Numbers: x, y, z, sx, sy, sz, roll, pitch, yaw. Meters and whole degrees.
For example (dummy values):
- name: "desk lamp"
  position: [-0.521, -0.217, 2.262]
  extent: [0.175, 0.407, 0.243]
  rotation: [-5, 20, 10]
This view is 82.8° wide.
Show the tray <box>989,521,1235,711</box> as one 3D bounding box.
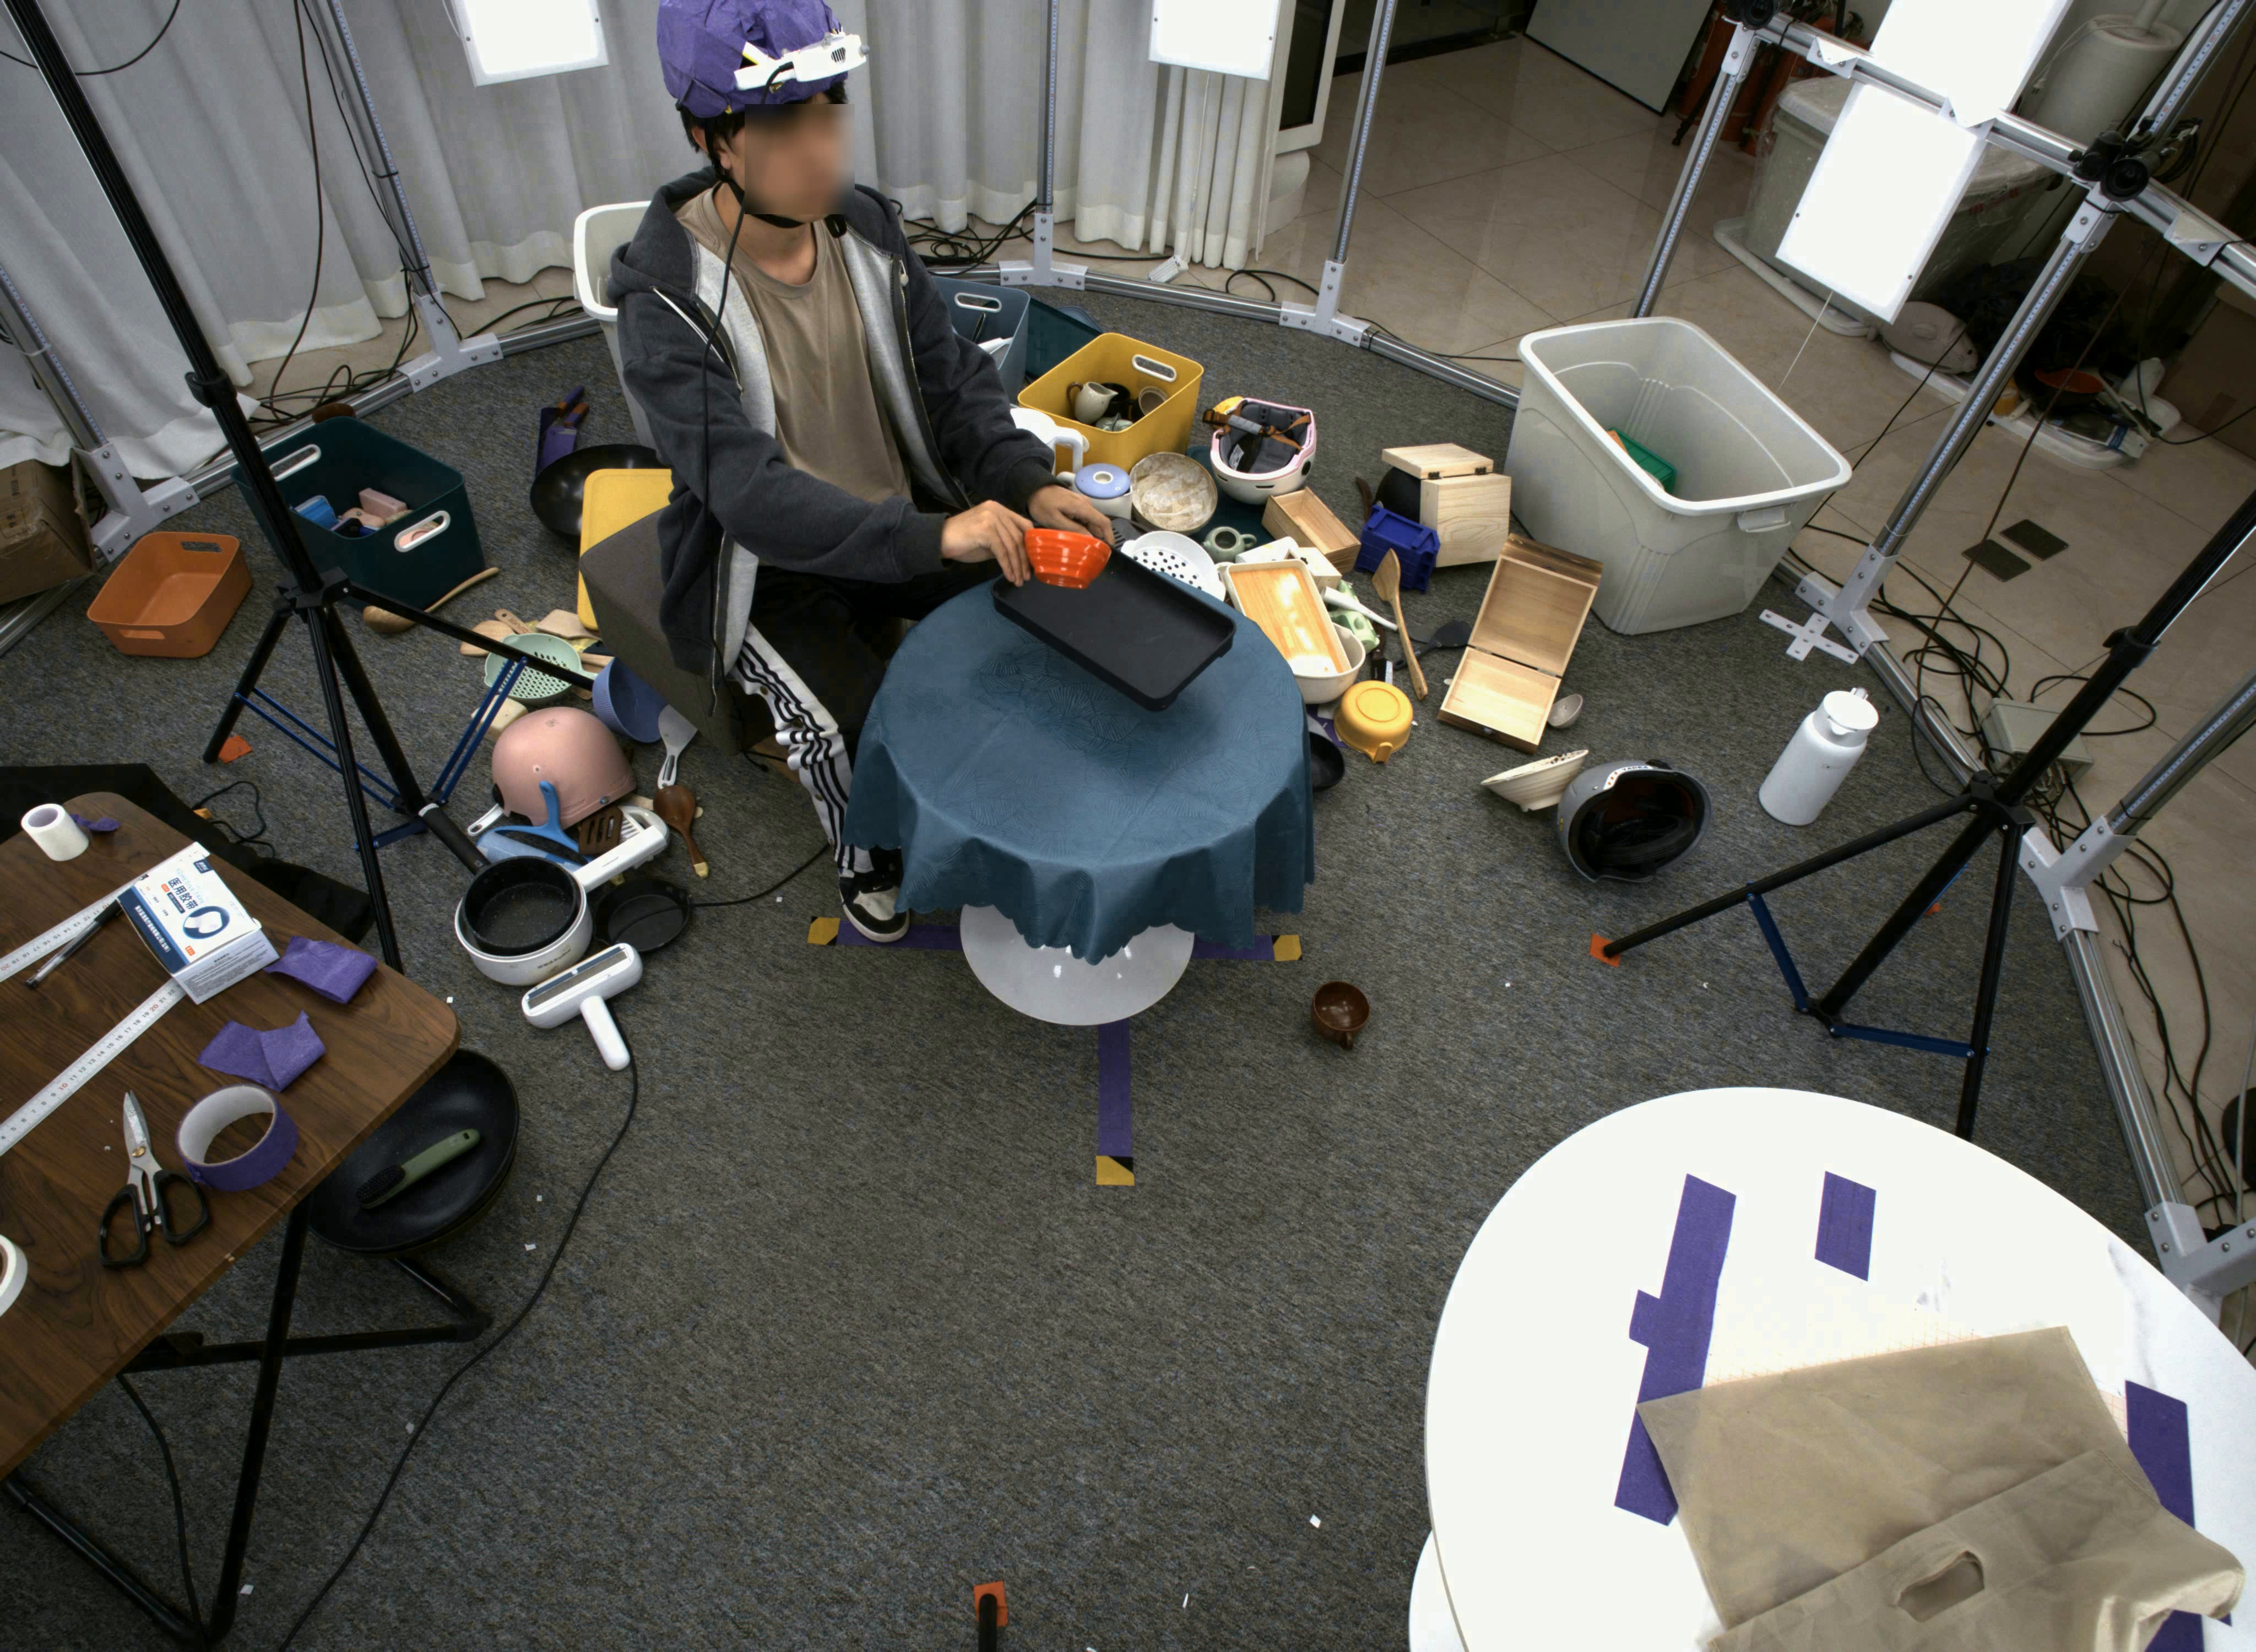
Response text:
- name: "tray"
  position: [-0.023, -0.297, 1.790]
  extent: [0.322, 0.036, 0.186]
  rotation: [35, 61, 22]

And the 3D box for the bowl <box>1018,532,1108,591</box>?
- name: "bowl"
  position: [-0.085, -0.327, 1.606]
  extent: [0.119, 0.051, 0.119]
  rotation: [14, 8, -2]
